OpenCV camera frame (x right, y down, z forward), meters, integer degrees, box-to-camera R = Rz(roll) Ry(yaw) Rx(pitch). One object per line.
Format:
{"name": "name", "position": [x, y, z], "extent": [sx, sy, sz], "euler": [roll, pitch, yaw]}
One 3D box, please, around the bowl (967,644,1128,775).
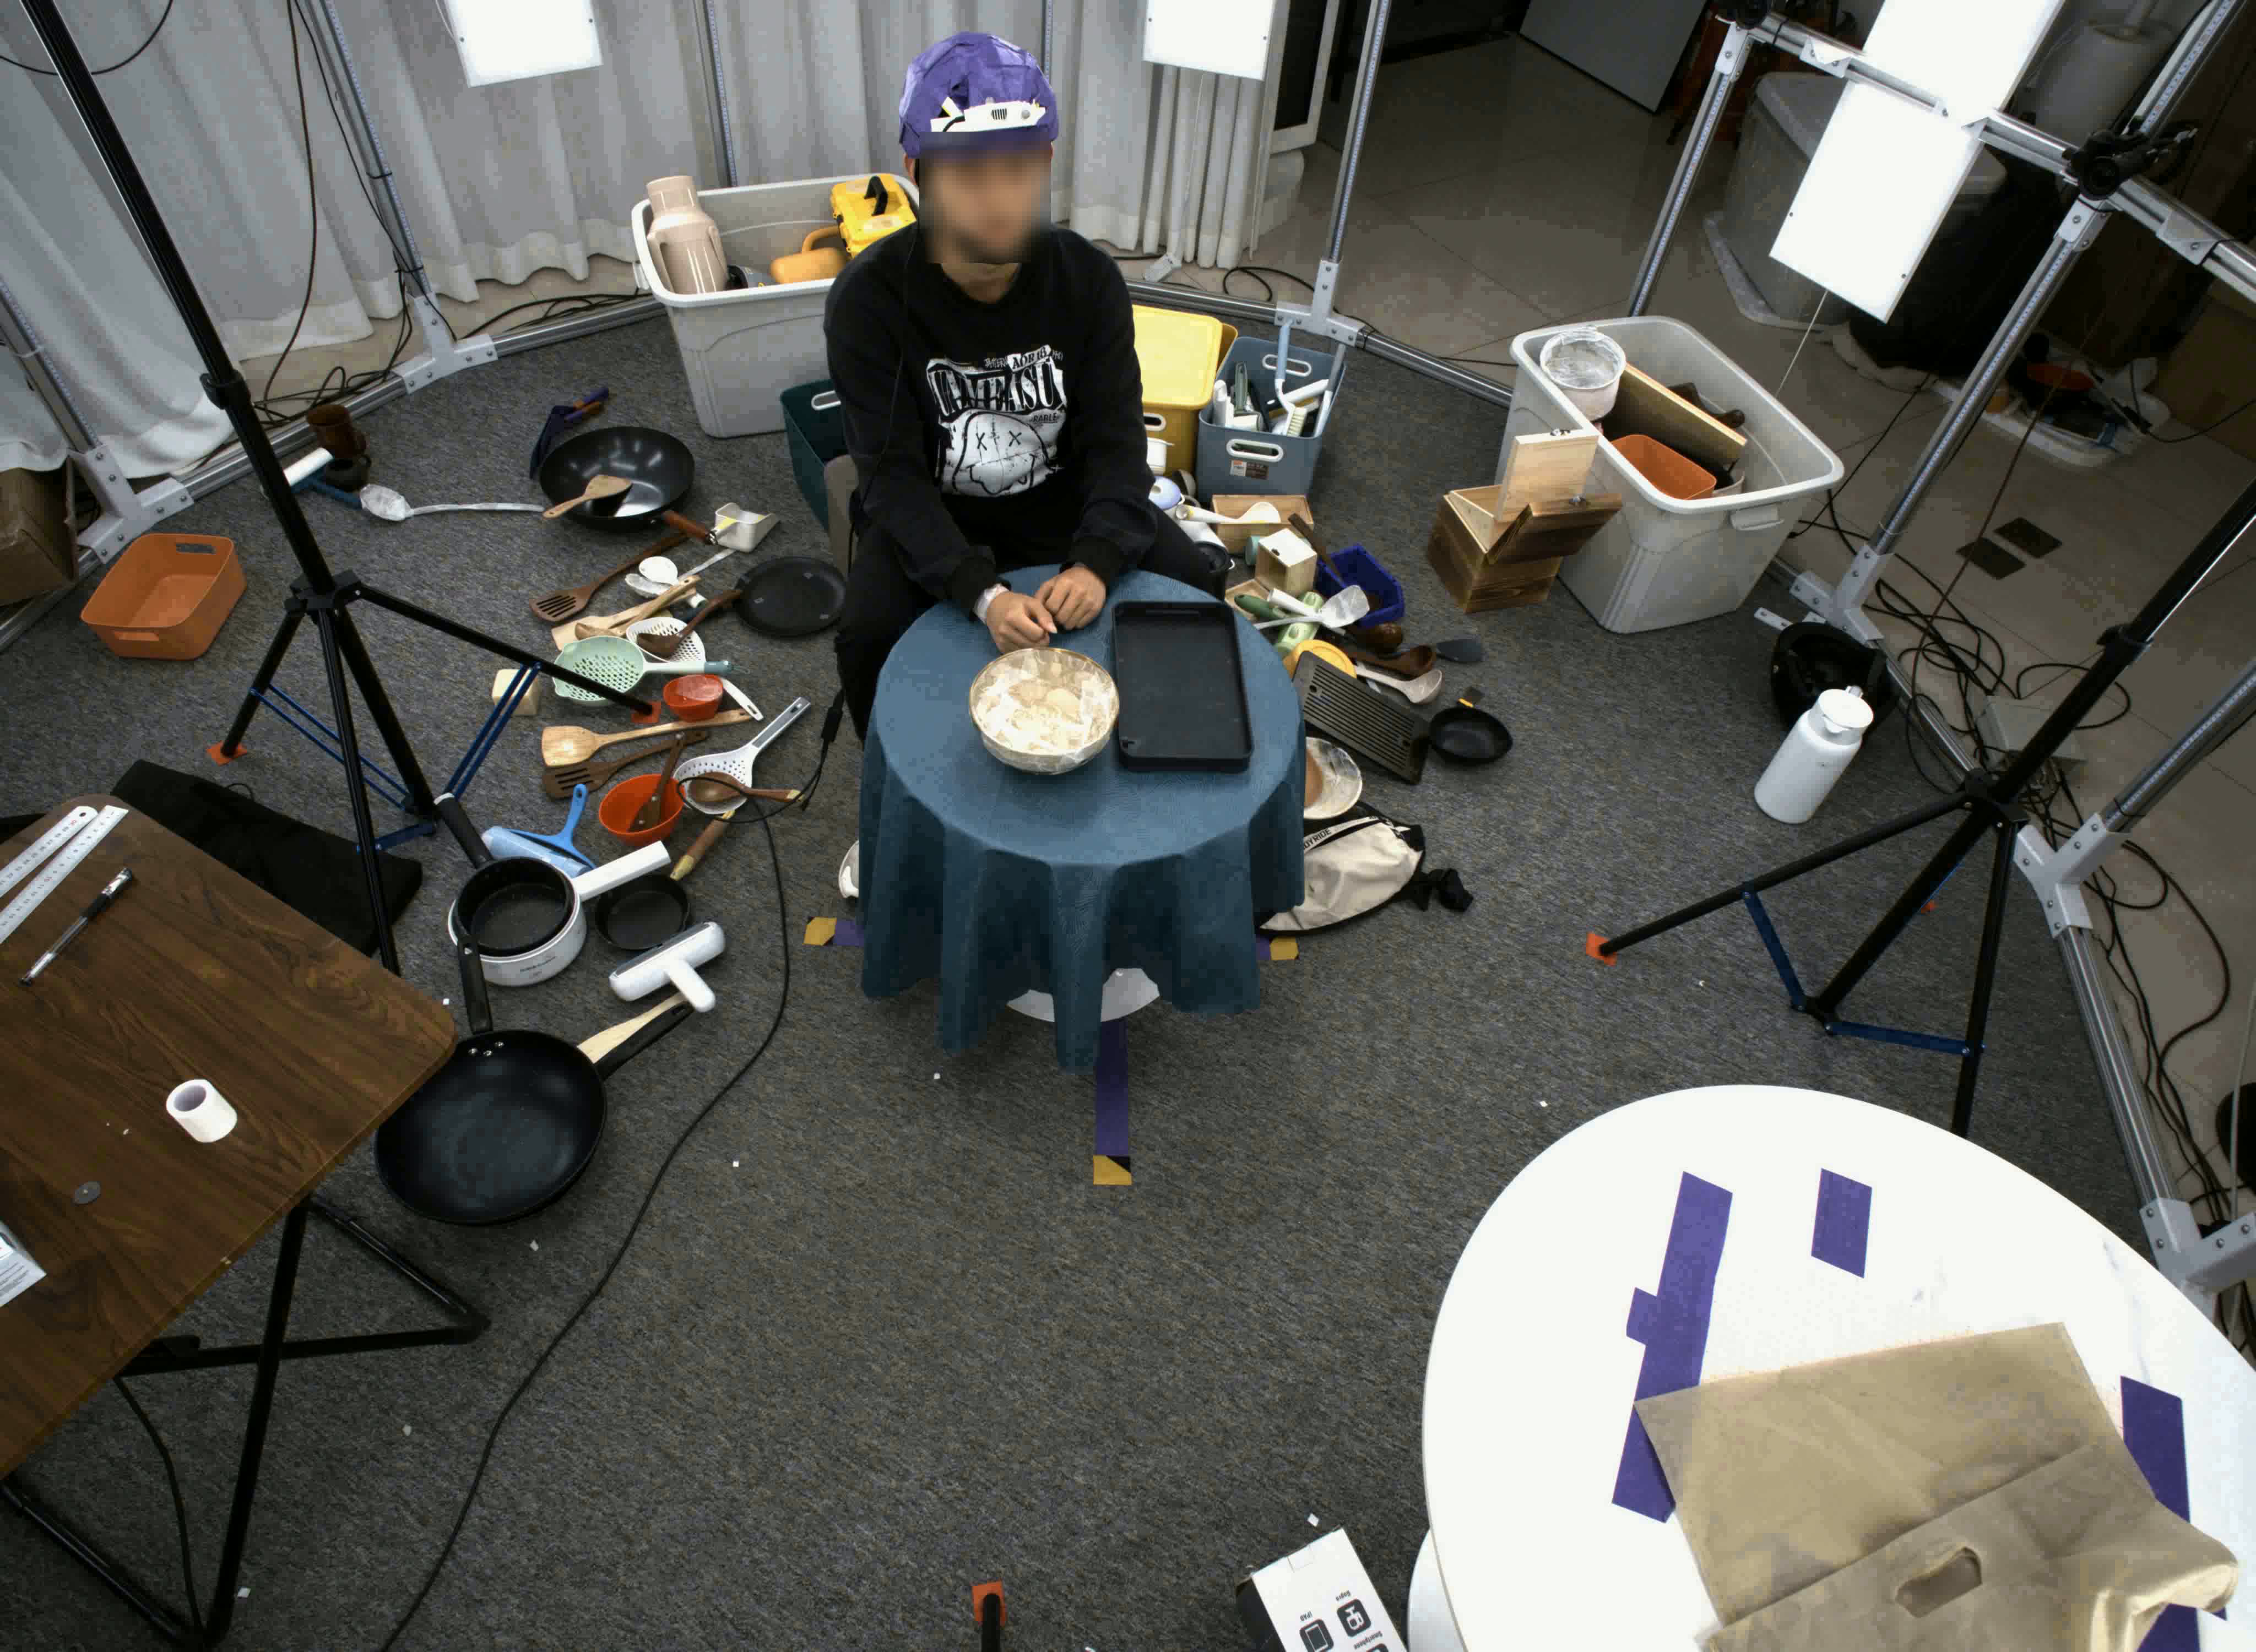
{"name": "bowl", "position": [-0.110, -0.143, 1.741], "extent": [0.214, 0.092, 0.220], "euler": [1, 49, -1]}

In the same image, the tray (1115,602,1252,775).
{"name": "tray", "position": [0.073, -0.203, 1.843], "extent": [0.184, 0.036, 0.326], "euler": [1, 49, -3]}
